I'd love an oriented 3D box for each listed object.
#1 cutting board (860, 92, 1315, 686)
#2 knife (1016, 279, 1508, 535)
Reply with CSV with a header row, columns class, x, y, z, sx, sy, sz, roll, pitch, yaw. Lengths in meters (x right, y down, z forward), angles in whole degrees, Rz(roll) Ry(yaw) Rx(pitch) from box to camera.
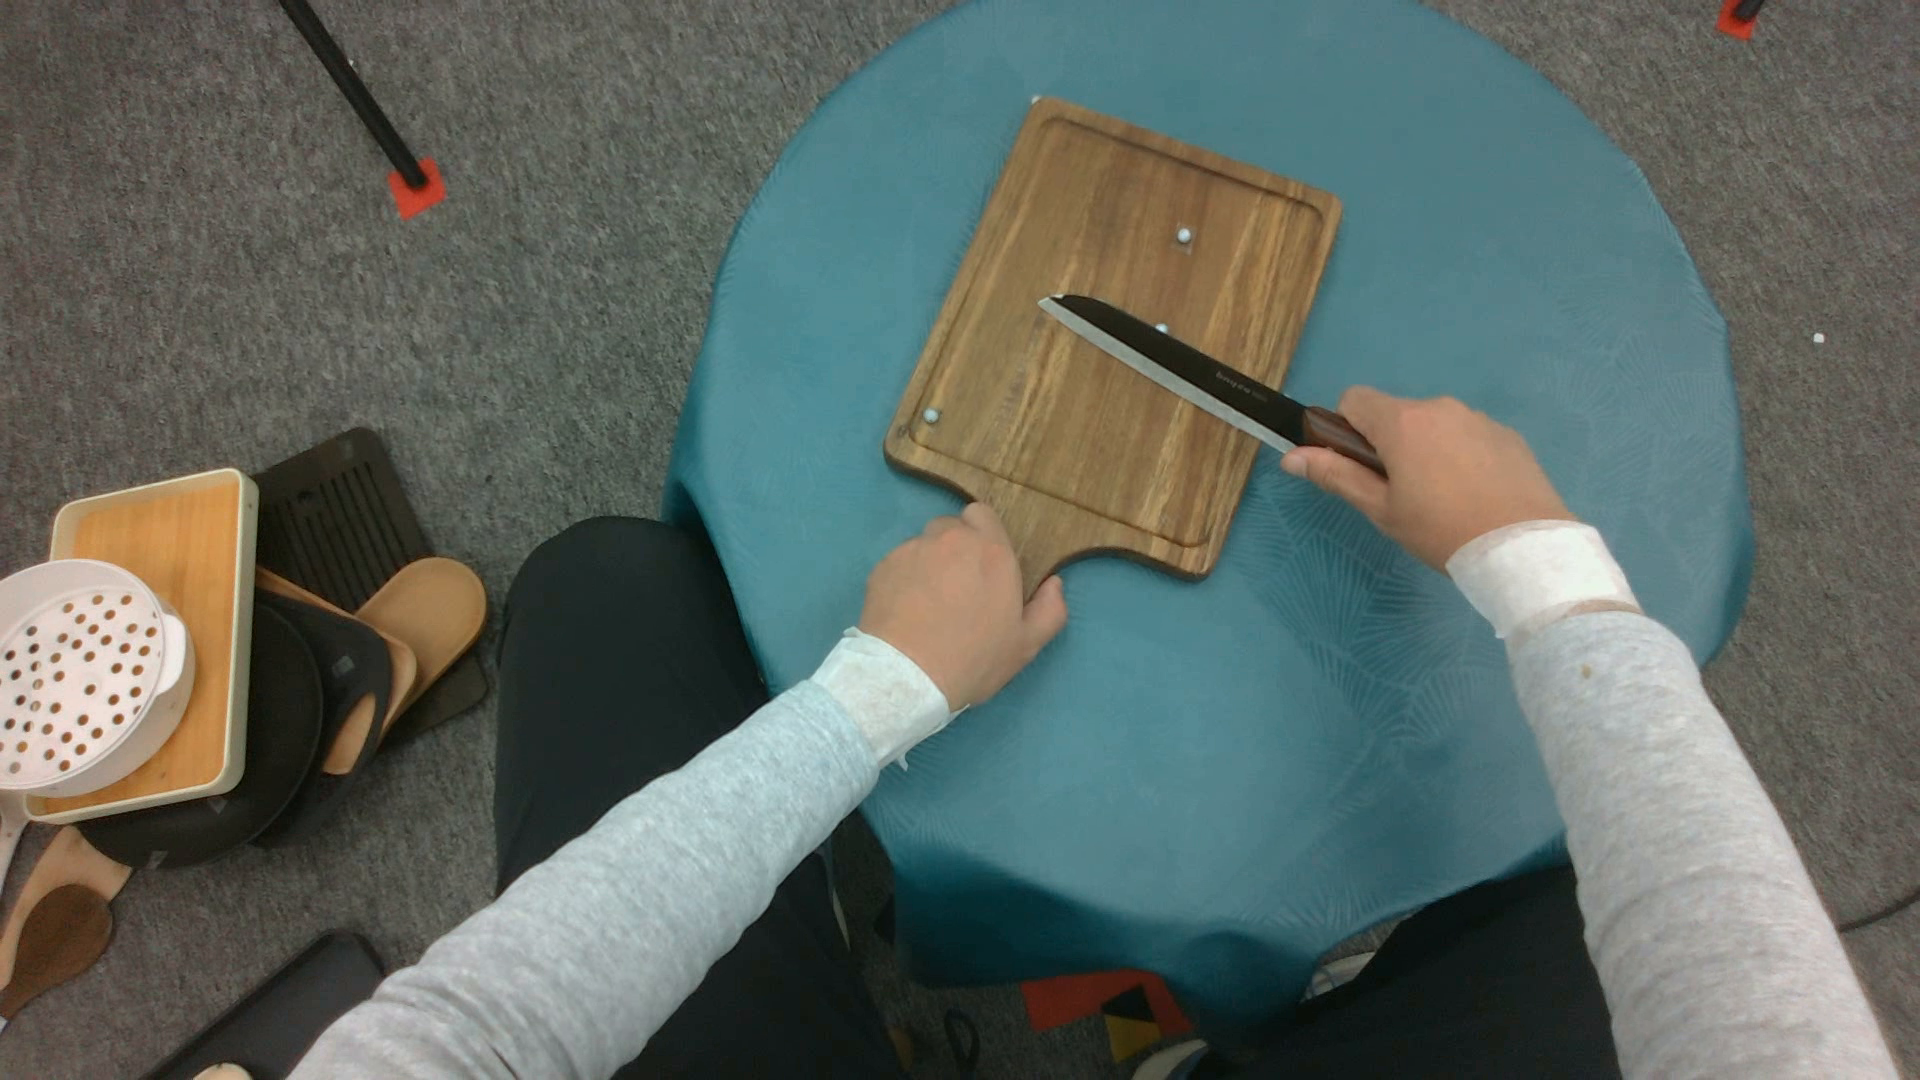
class,x,y,z,sx,sy,sz,roll,pitch,yaw
cutting board,0.060,-0.083,0.778,0.201,0.023,0.353,20,73,5
knife,0.154,-0.076,0.740,0.289,0.050,0.020,29,60,16
